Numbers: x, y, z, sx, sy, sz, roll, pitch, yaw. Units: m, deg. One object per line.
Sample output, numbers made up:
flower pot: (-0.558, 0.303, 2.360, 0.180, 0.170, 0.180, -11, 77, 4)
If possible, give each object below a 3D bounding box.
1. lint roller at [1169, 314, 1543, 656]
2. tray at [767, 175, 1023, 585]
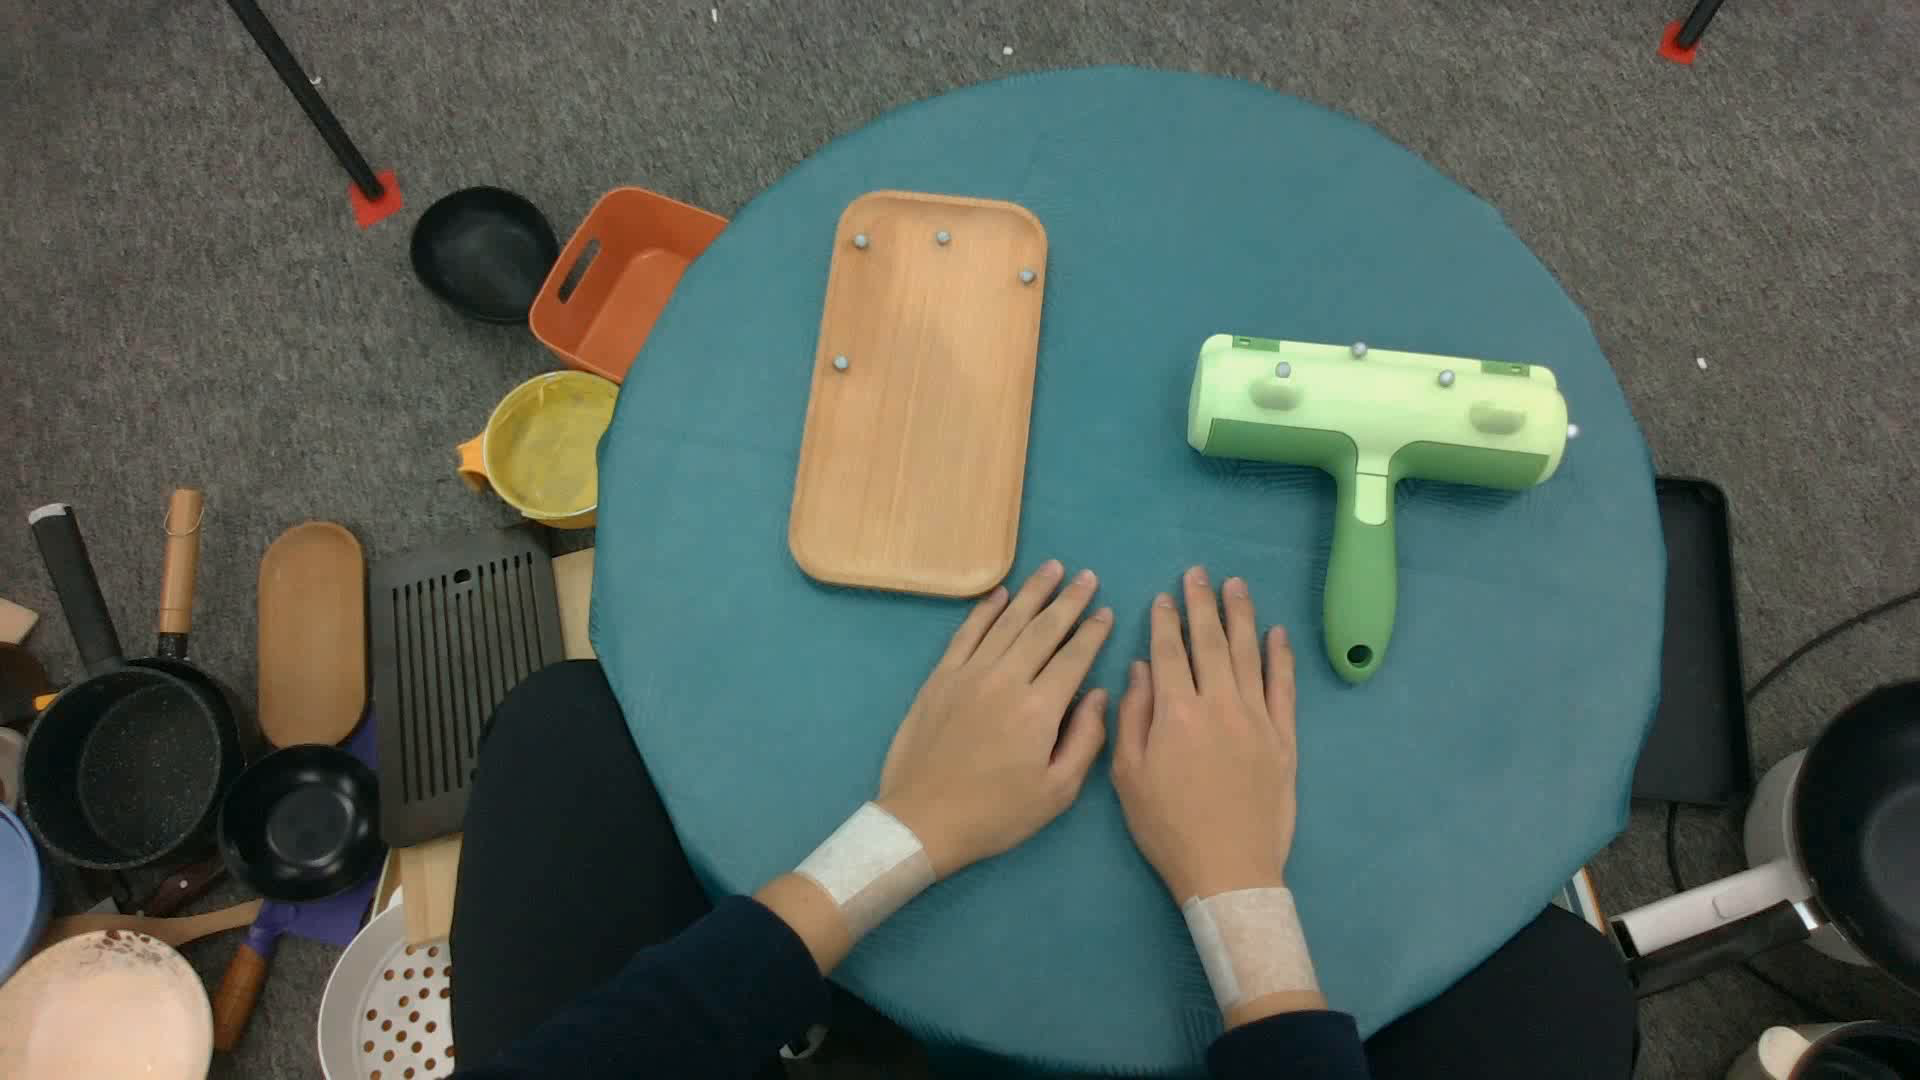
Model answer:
lint roller: (0.212, -0.036, 0.731, 0.198, 0.082, 0.184, 4, 65, 2)
tray: (-0.034, -0.096, 0.788, 0.130, 0.023, 0.251, 4, 72, 3)
